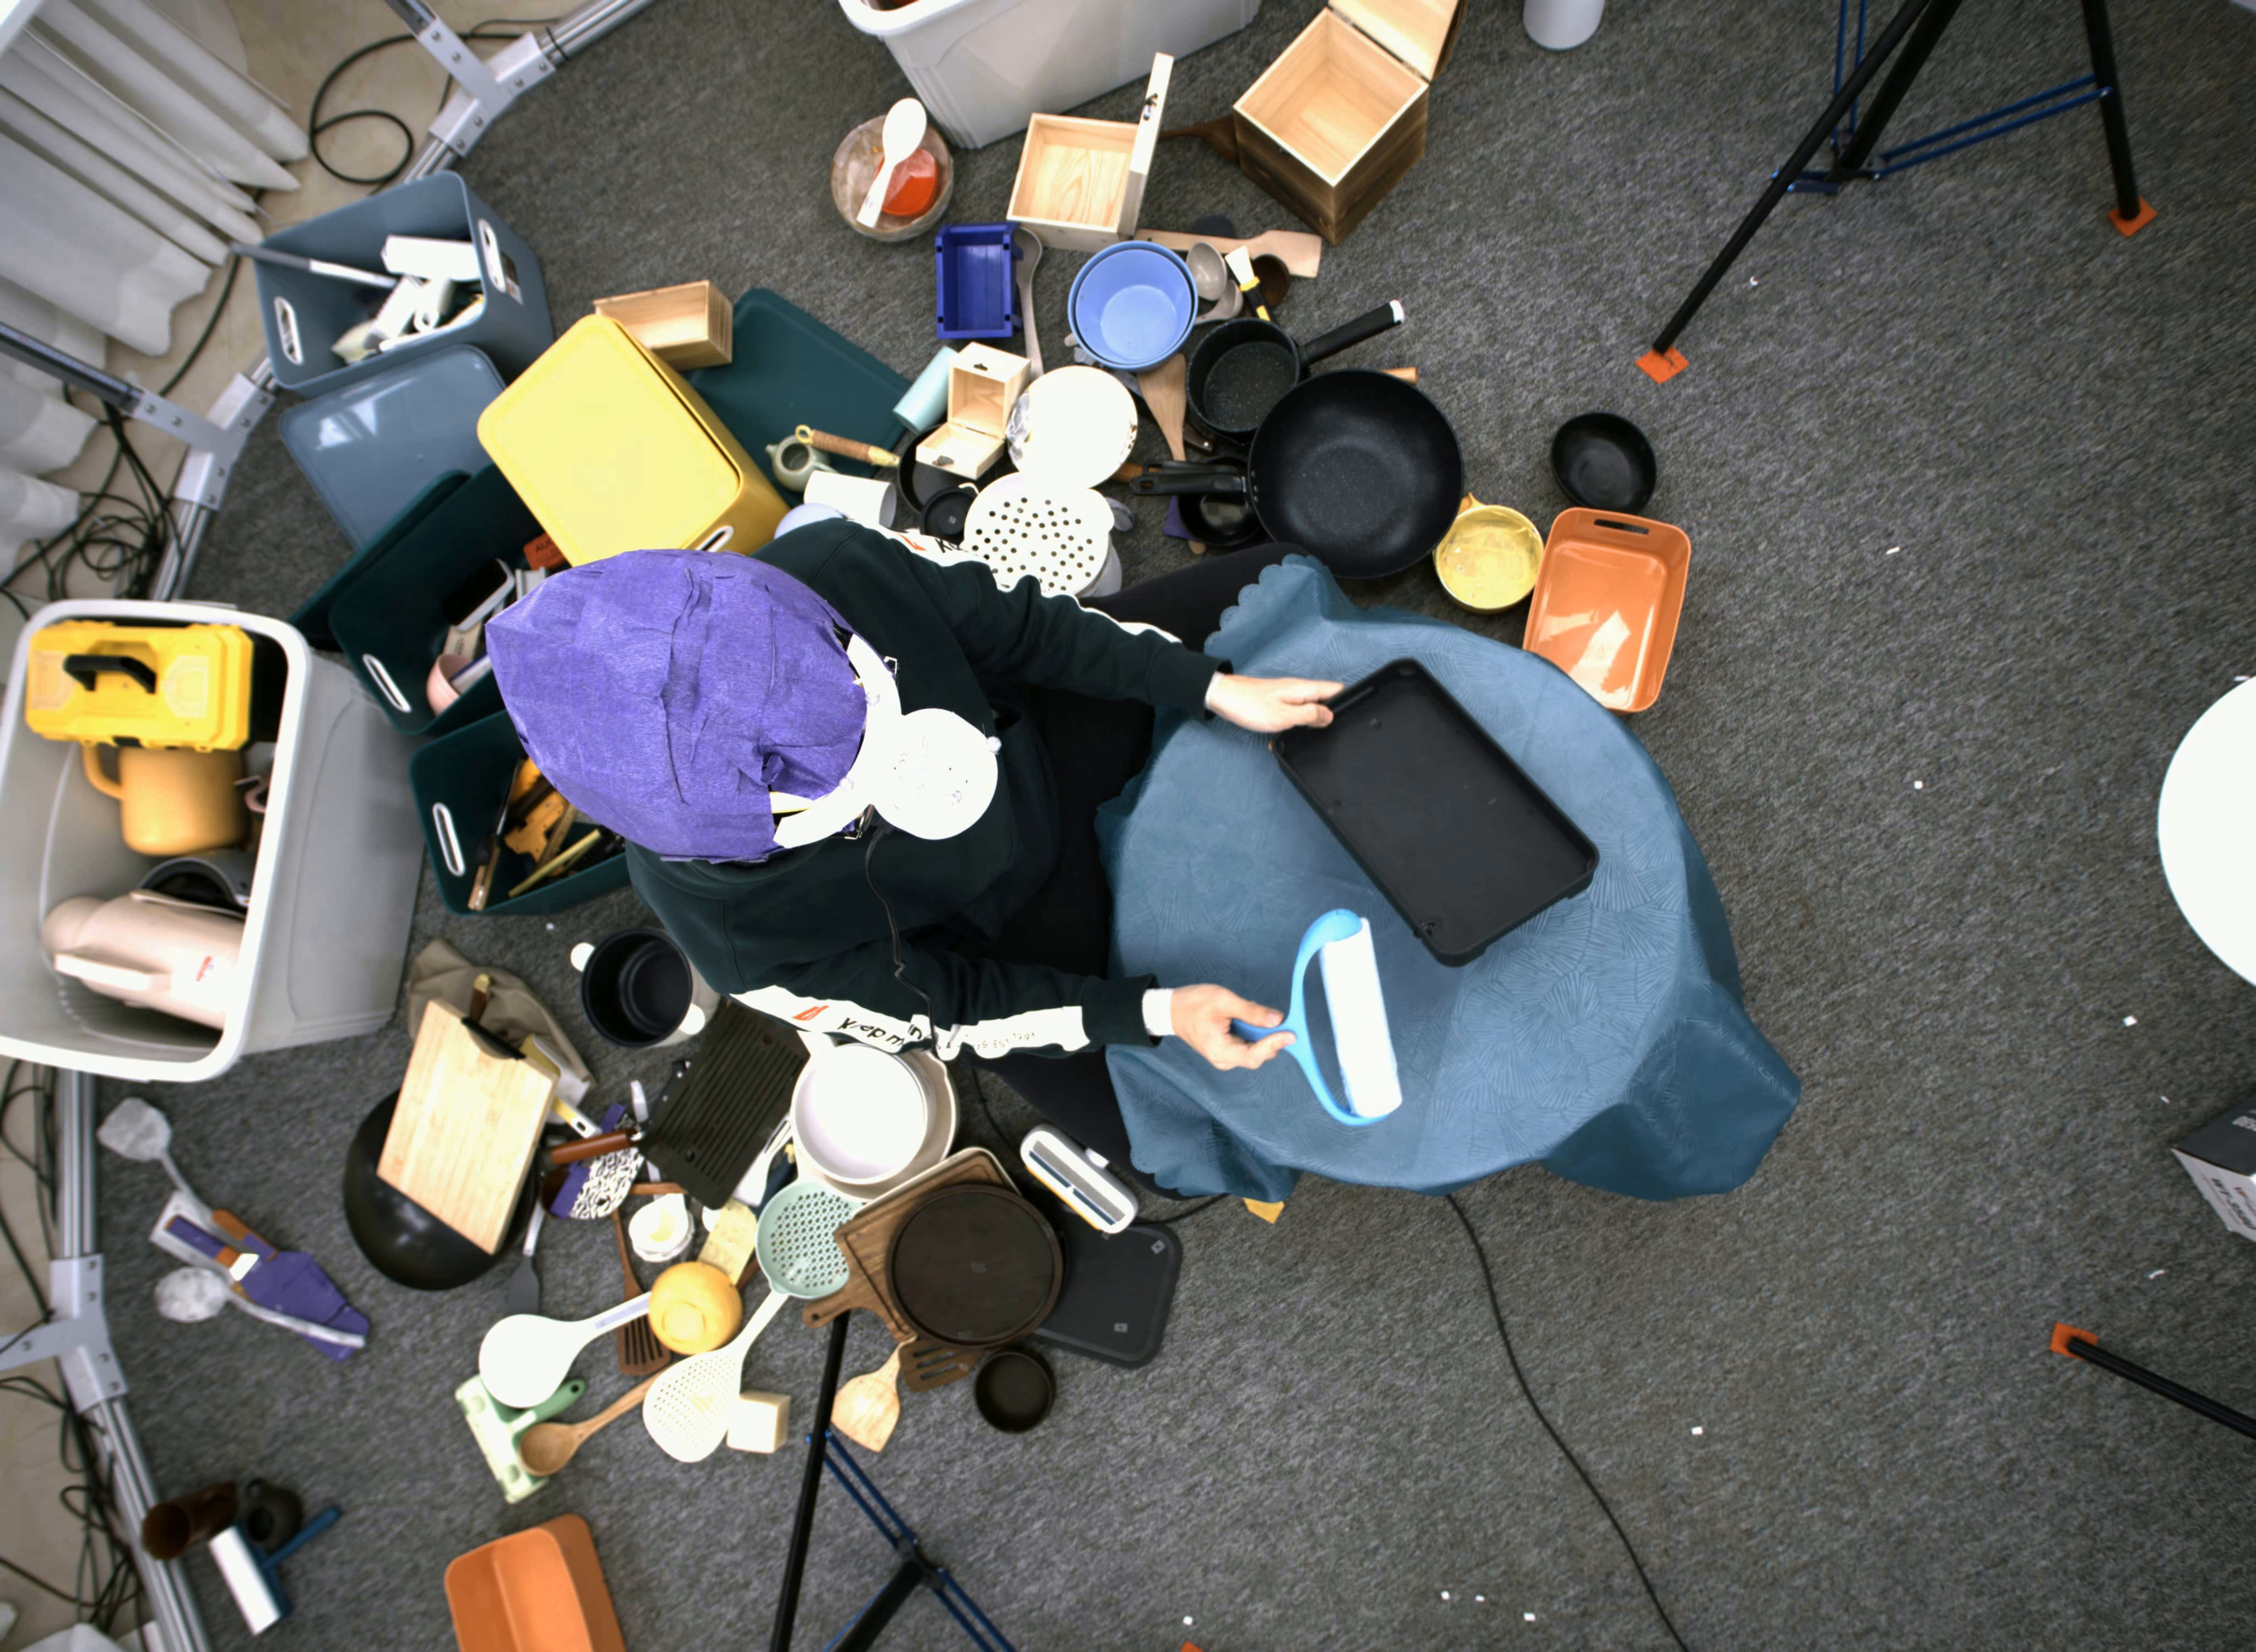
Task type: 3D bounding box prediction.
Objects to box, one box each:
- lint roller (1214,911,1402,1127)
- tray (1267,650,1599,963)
[{"bbox_3d":[0.165,0.193,1.345,0.182,0.066,0.232,-8,114,21],"label":"lint roller"},{"bbox_3d":[0.295,-0.027,1.359,0.184,0.037,0.313,-34,60,-4],"label":"tray"}]
